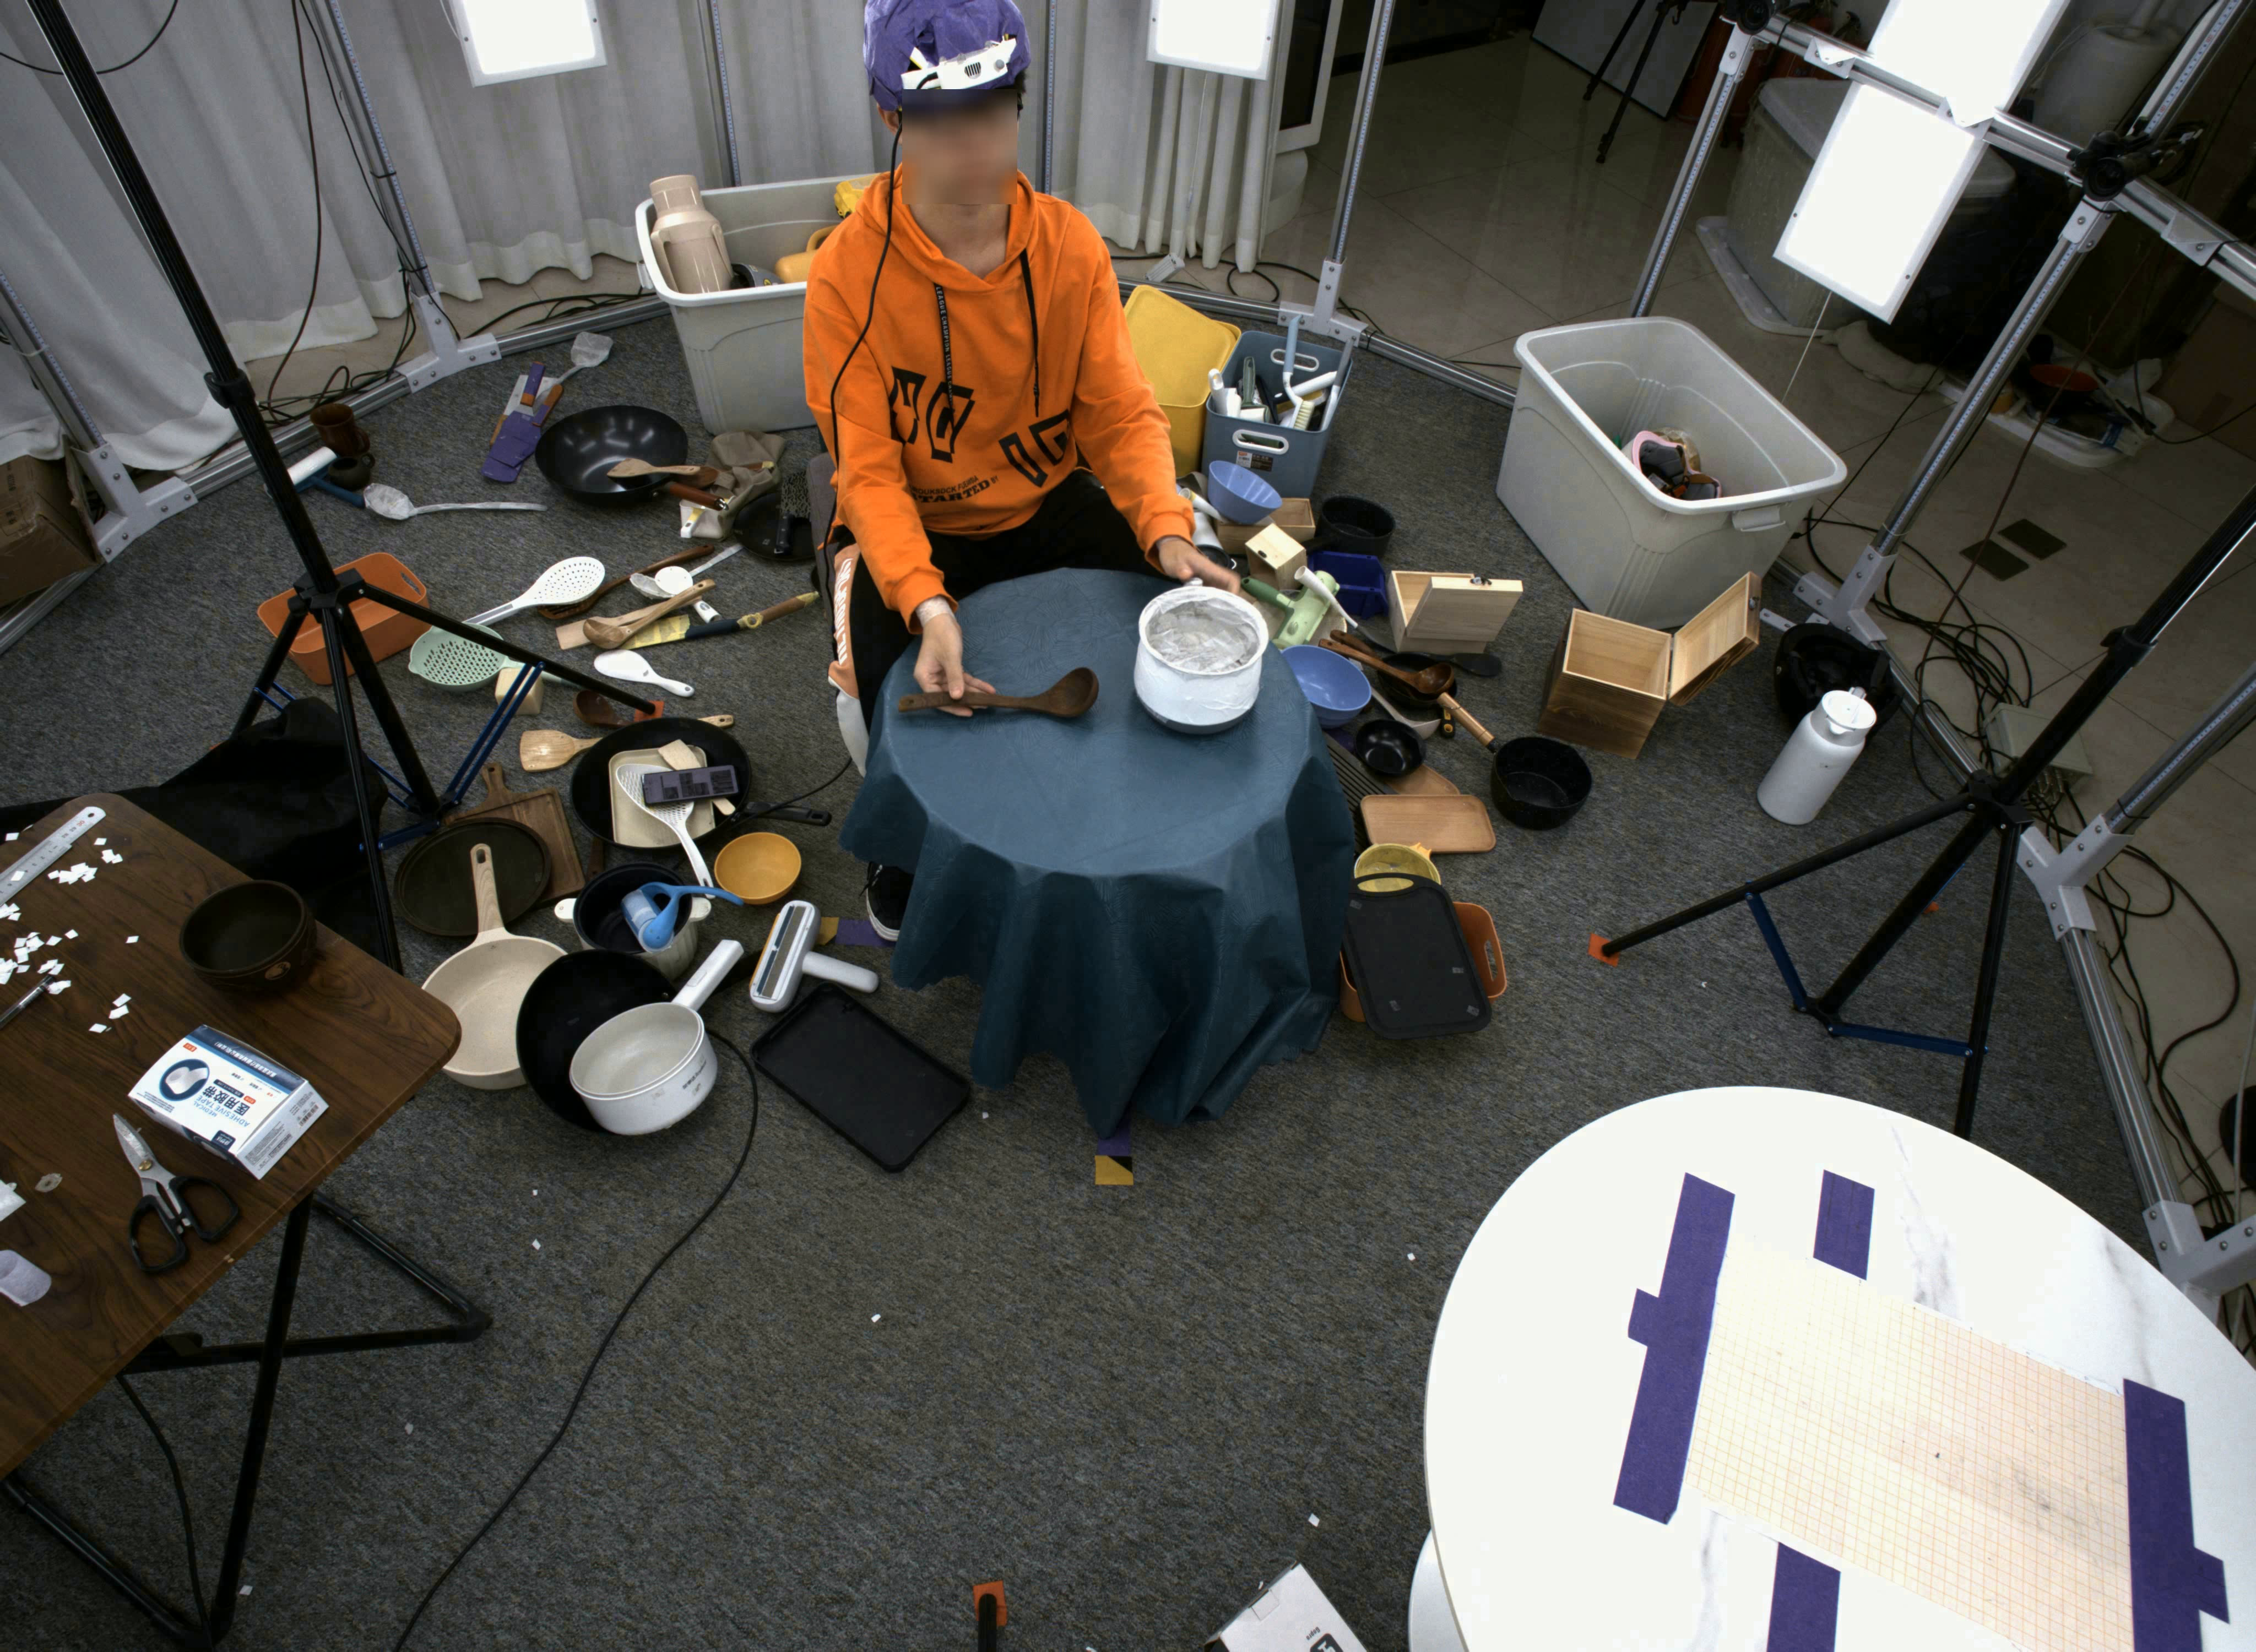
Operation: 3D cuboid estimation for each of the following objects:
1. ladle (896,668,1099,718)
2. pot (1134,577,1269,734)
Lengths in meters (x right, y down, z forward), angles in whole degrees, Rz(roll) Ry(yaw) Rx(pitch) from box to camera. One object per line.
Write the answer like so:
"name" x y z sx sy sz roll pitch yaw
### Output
"ladle" -0.177 -0.185 1.763 0.273 0.070 0.078 1 48 -11
"pot" 0.095 -0.248 1.802 0.178 0.133 0.239 -2 50 -6
